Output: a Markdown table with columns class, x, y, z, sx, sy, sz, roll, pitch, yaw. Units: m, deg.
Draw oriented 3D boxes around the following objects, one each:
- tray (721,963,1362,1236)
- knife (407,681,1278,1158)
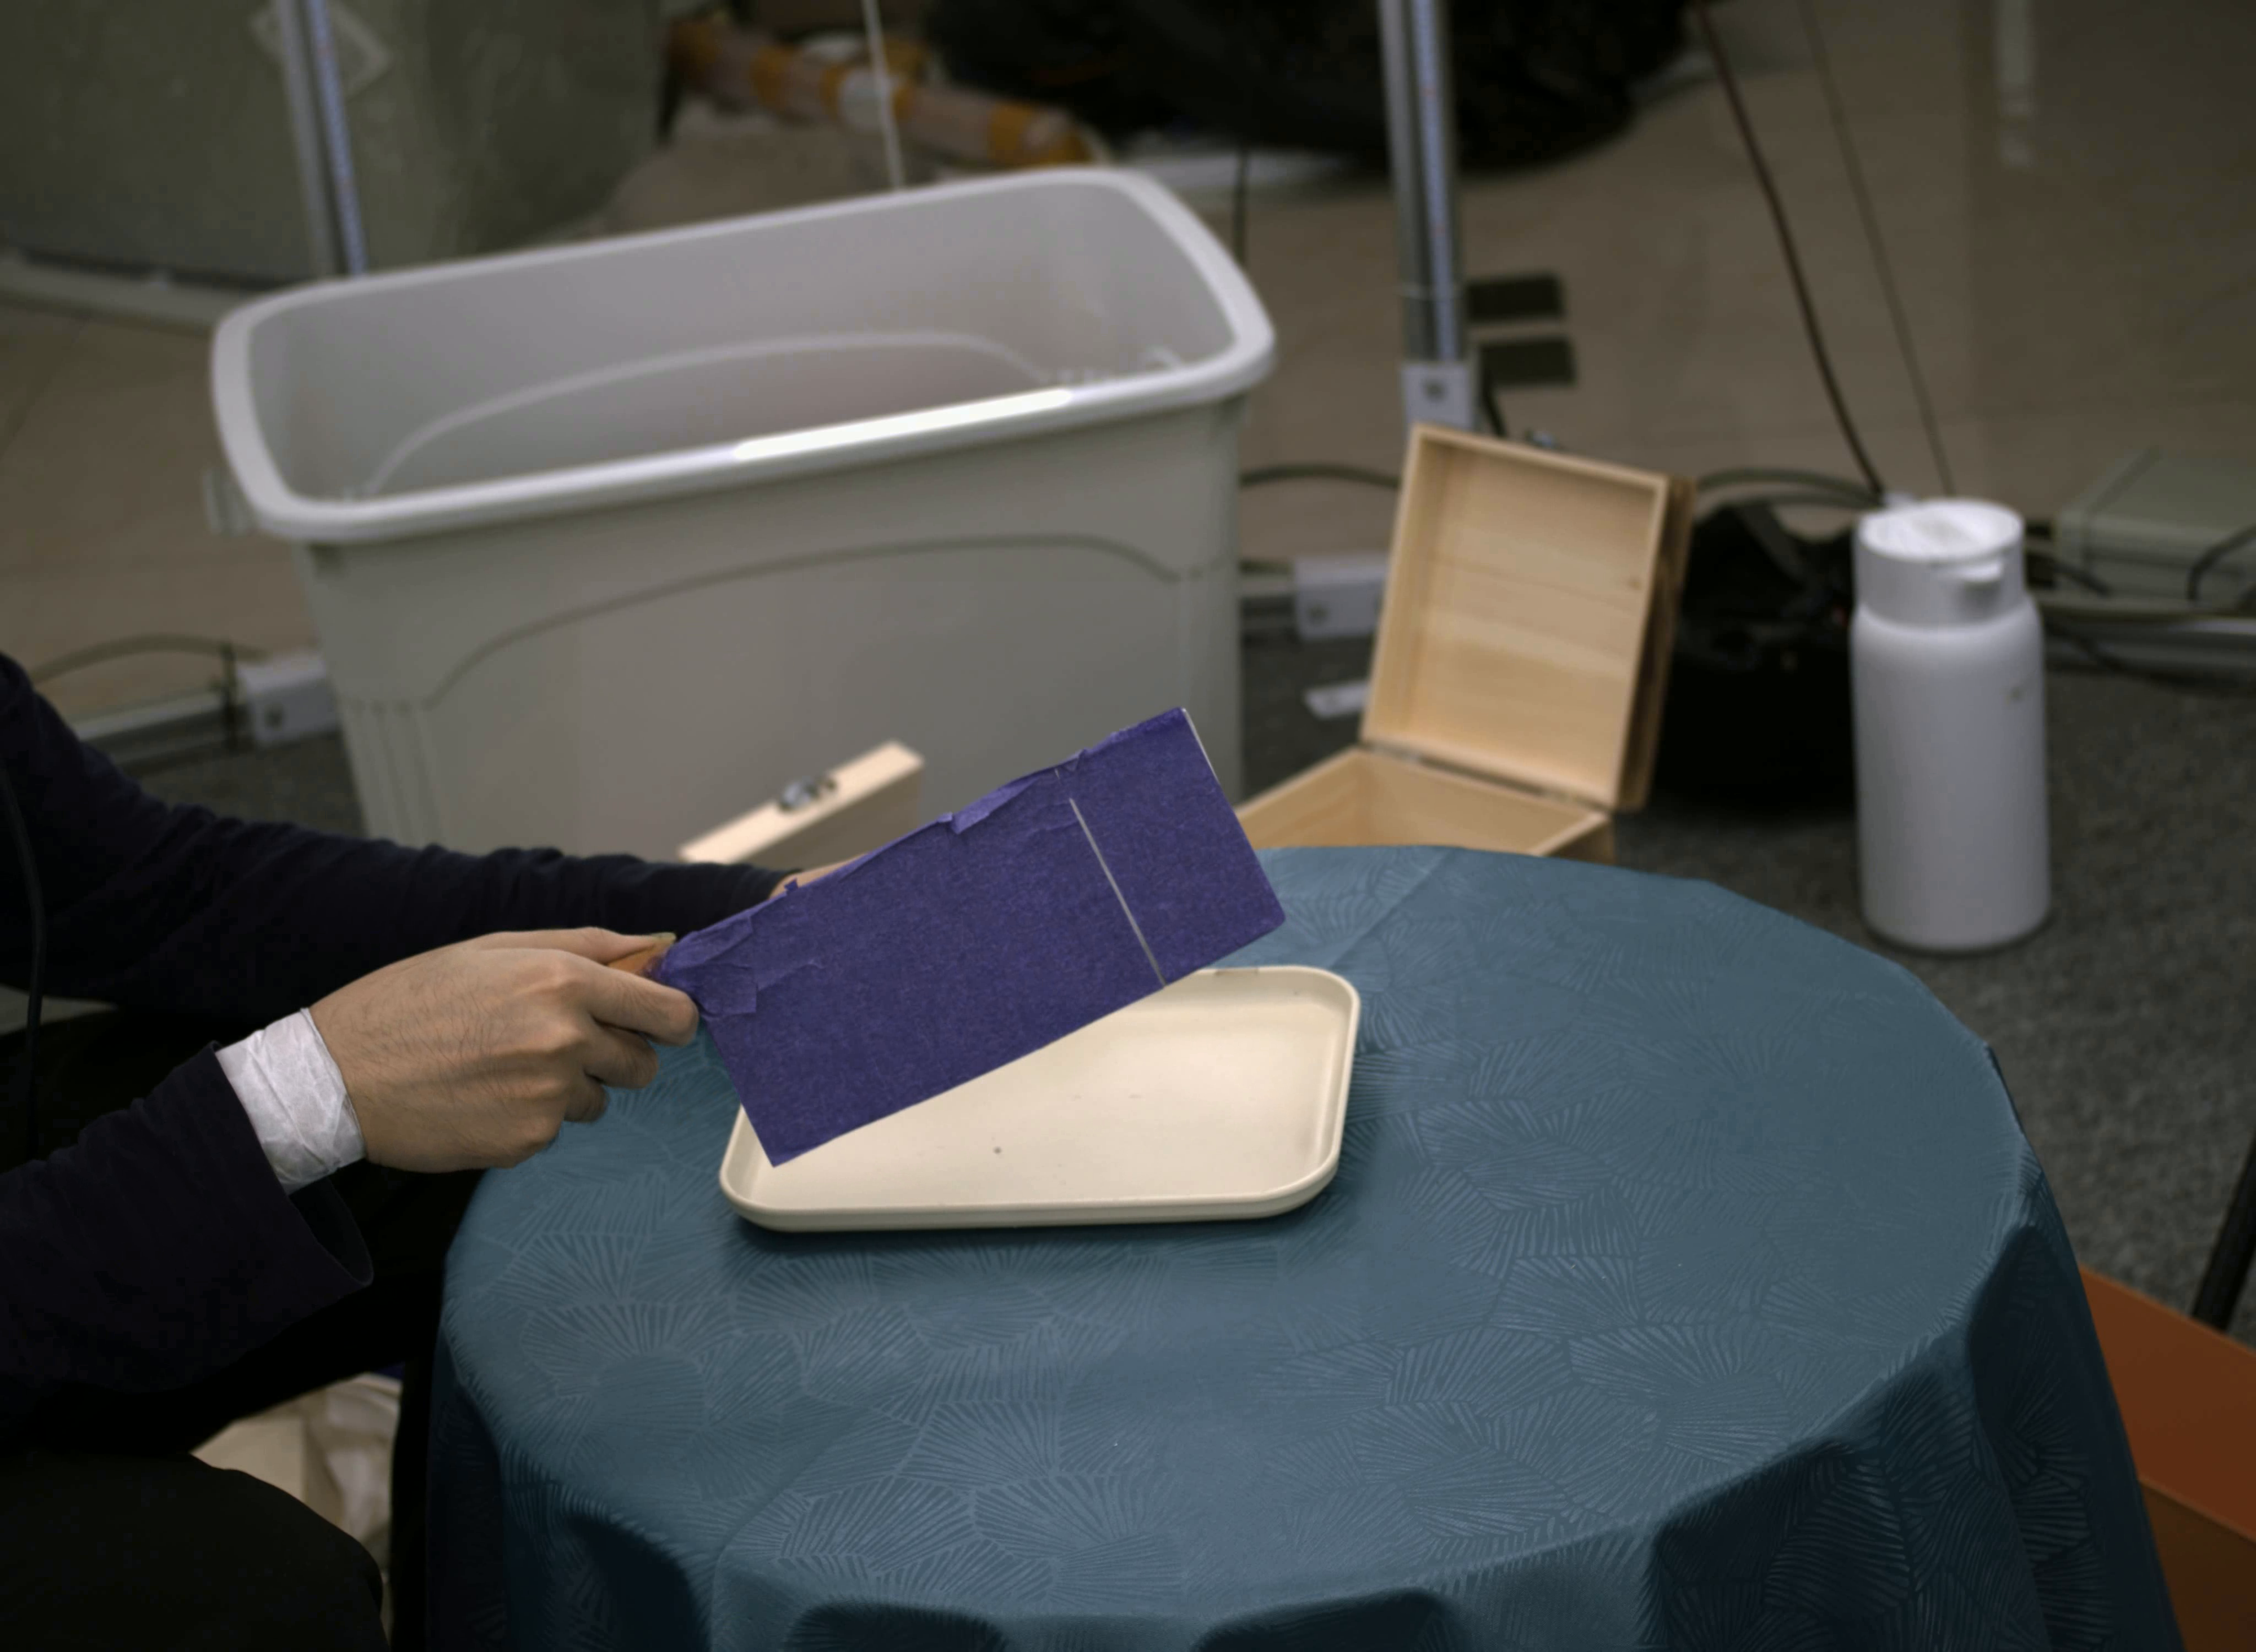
| class | x | y | z | sx | sy | sz | roll | pitch | yaw |
| --- | --- | --- | --- | --- | --- | --- | --- | --- | --- |
| tray | -0.031 | 0.107 | 2.194 | 0.239 | 0.018 | 0.168 | -2 | 30 | 9 |
| knife | -0.099 | 0.060 | 2.034 | 0.315 | 0.104 | 0.032 | -26 | 7 | -1 |
